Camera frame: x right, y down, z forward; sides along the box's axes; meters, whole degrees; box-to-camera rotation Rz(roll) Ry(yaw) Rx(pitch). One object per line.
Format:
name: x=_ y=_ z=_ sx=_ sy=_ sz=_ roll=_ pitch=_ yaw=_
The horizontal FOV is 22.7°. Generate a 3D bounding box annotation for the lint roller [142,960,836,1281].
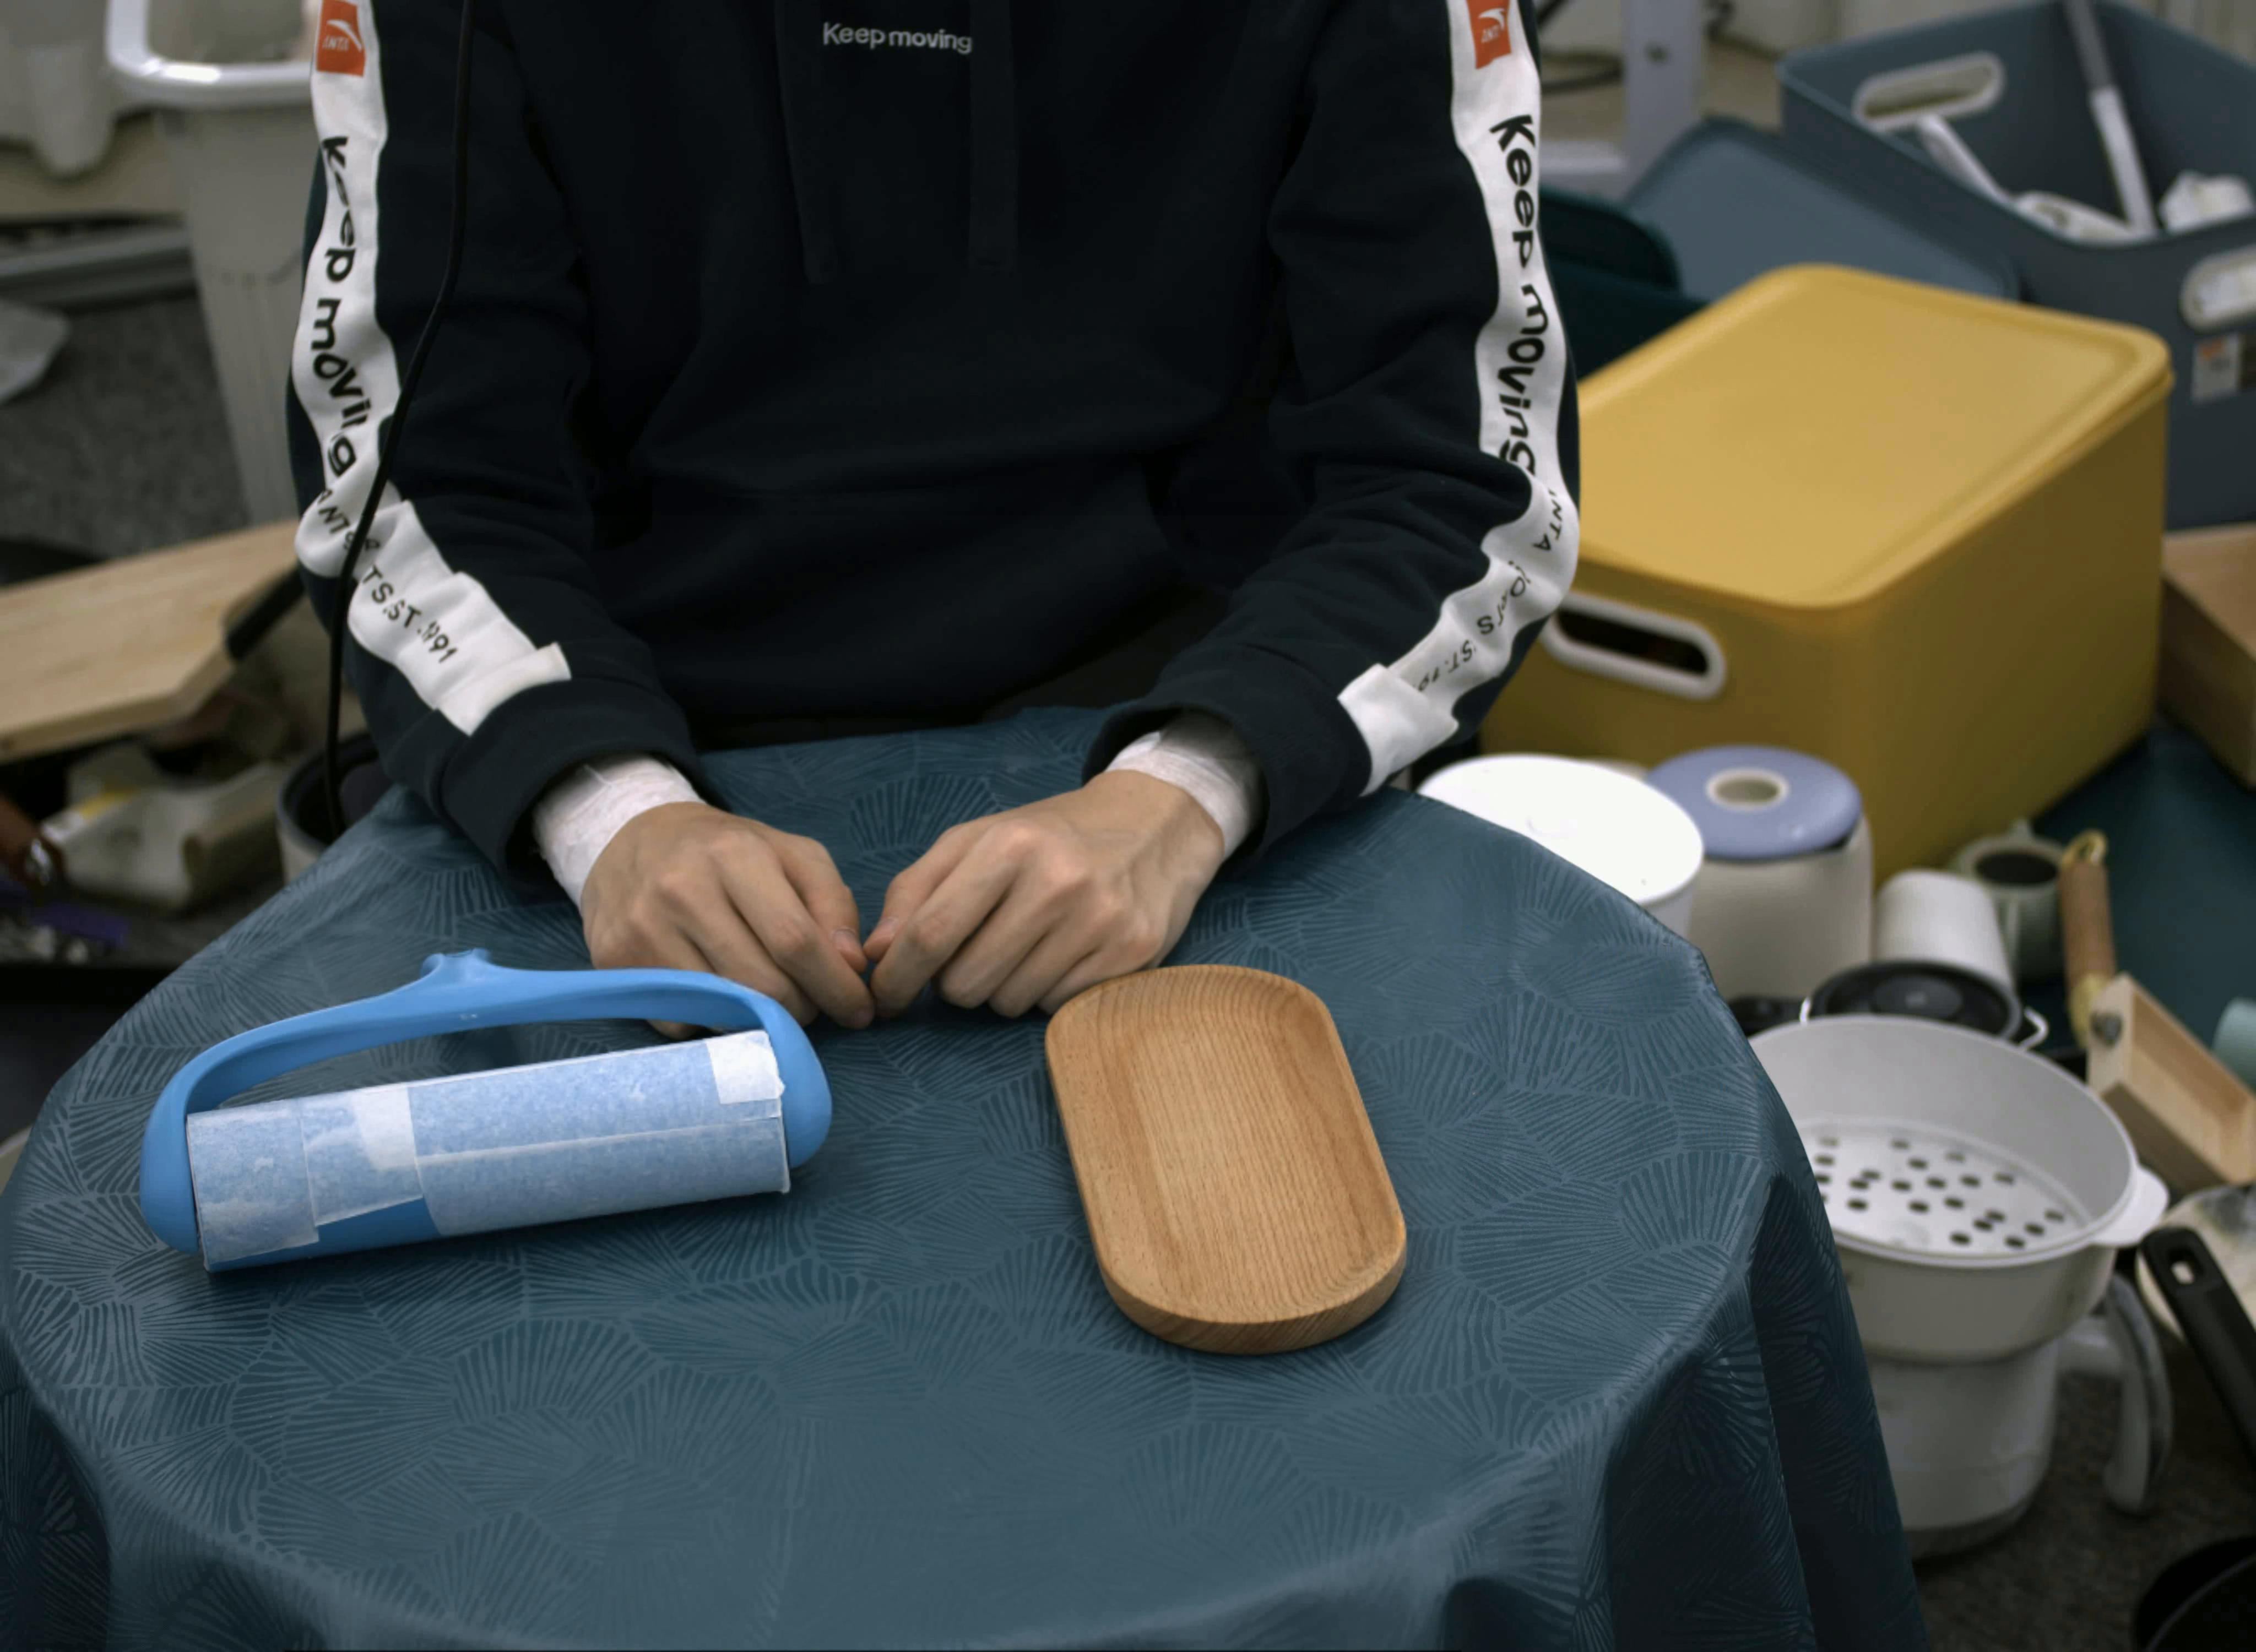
lint roller: x=-0.223 y=0.081 z=1.899 sx=0.229 sy=0.067 sz=0.182 roll=-10 pitch=29 yaw=-11

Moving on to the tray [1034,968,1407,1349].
tray: x=0.029 y=0.108 z=1.867 sx=0.101 sy=0.020 sz=0.234 roll=-6 pitch=26 yaw=-8
